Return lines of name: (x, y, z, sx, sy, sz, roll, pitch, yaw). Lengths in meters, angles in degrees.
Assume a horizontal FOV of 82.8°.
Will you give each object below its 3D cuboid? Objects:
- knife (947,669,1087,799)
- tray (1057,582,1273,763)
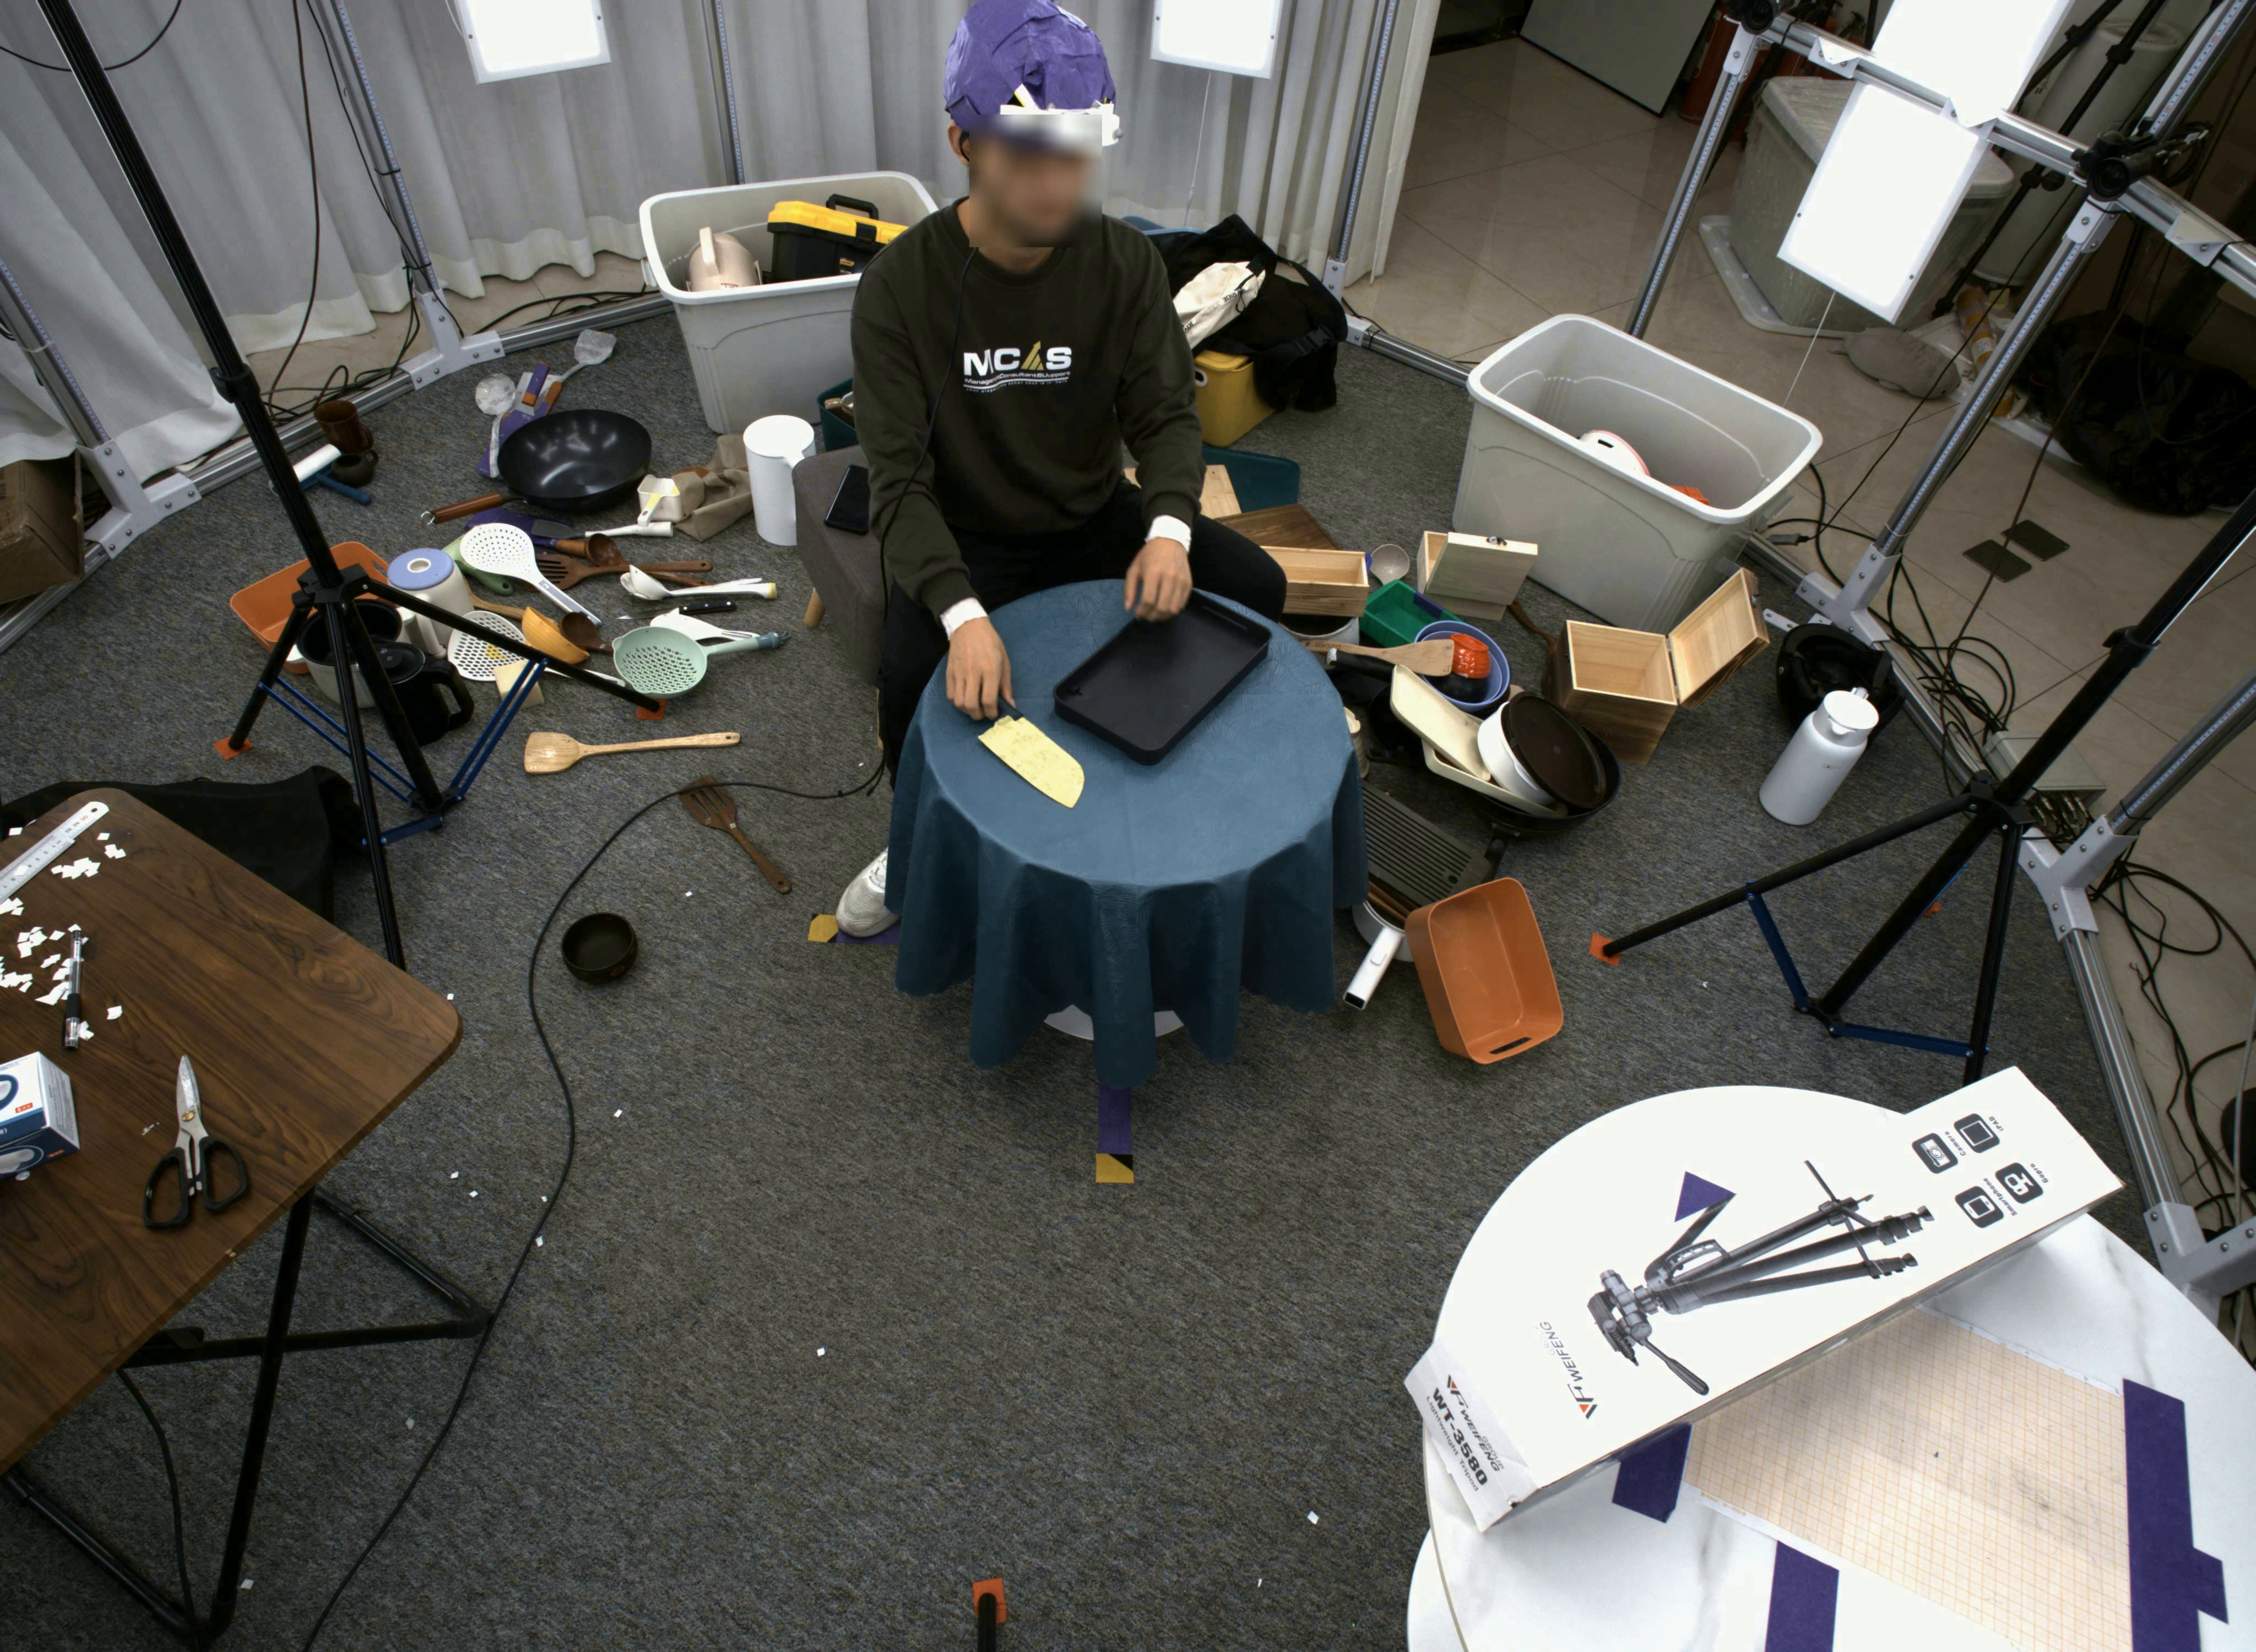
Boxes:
knife: (-0.161, -0.125, 1.755, 0.081, 0.026, 0.294, -32, 59, -29)
tray: (0.057, -0.227, 1.844, 0.186, 0.036, 0.322, 29, 53, 20)
